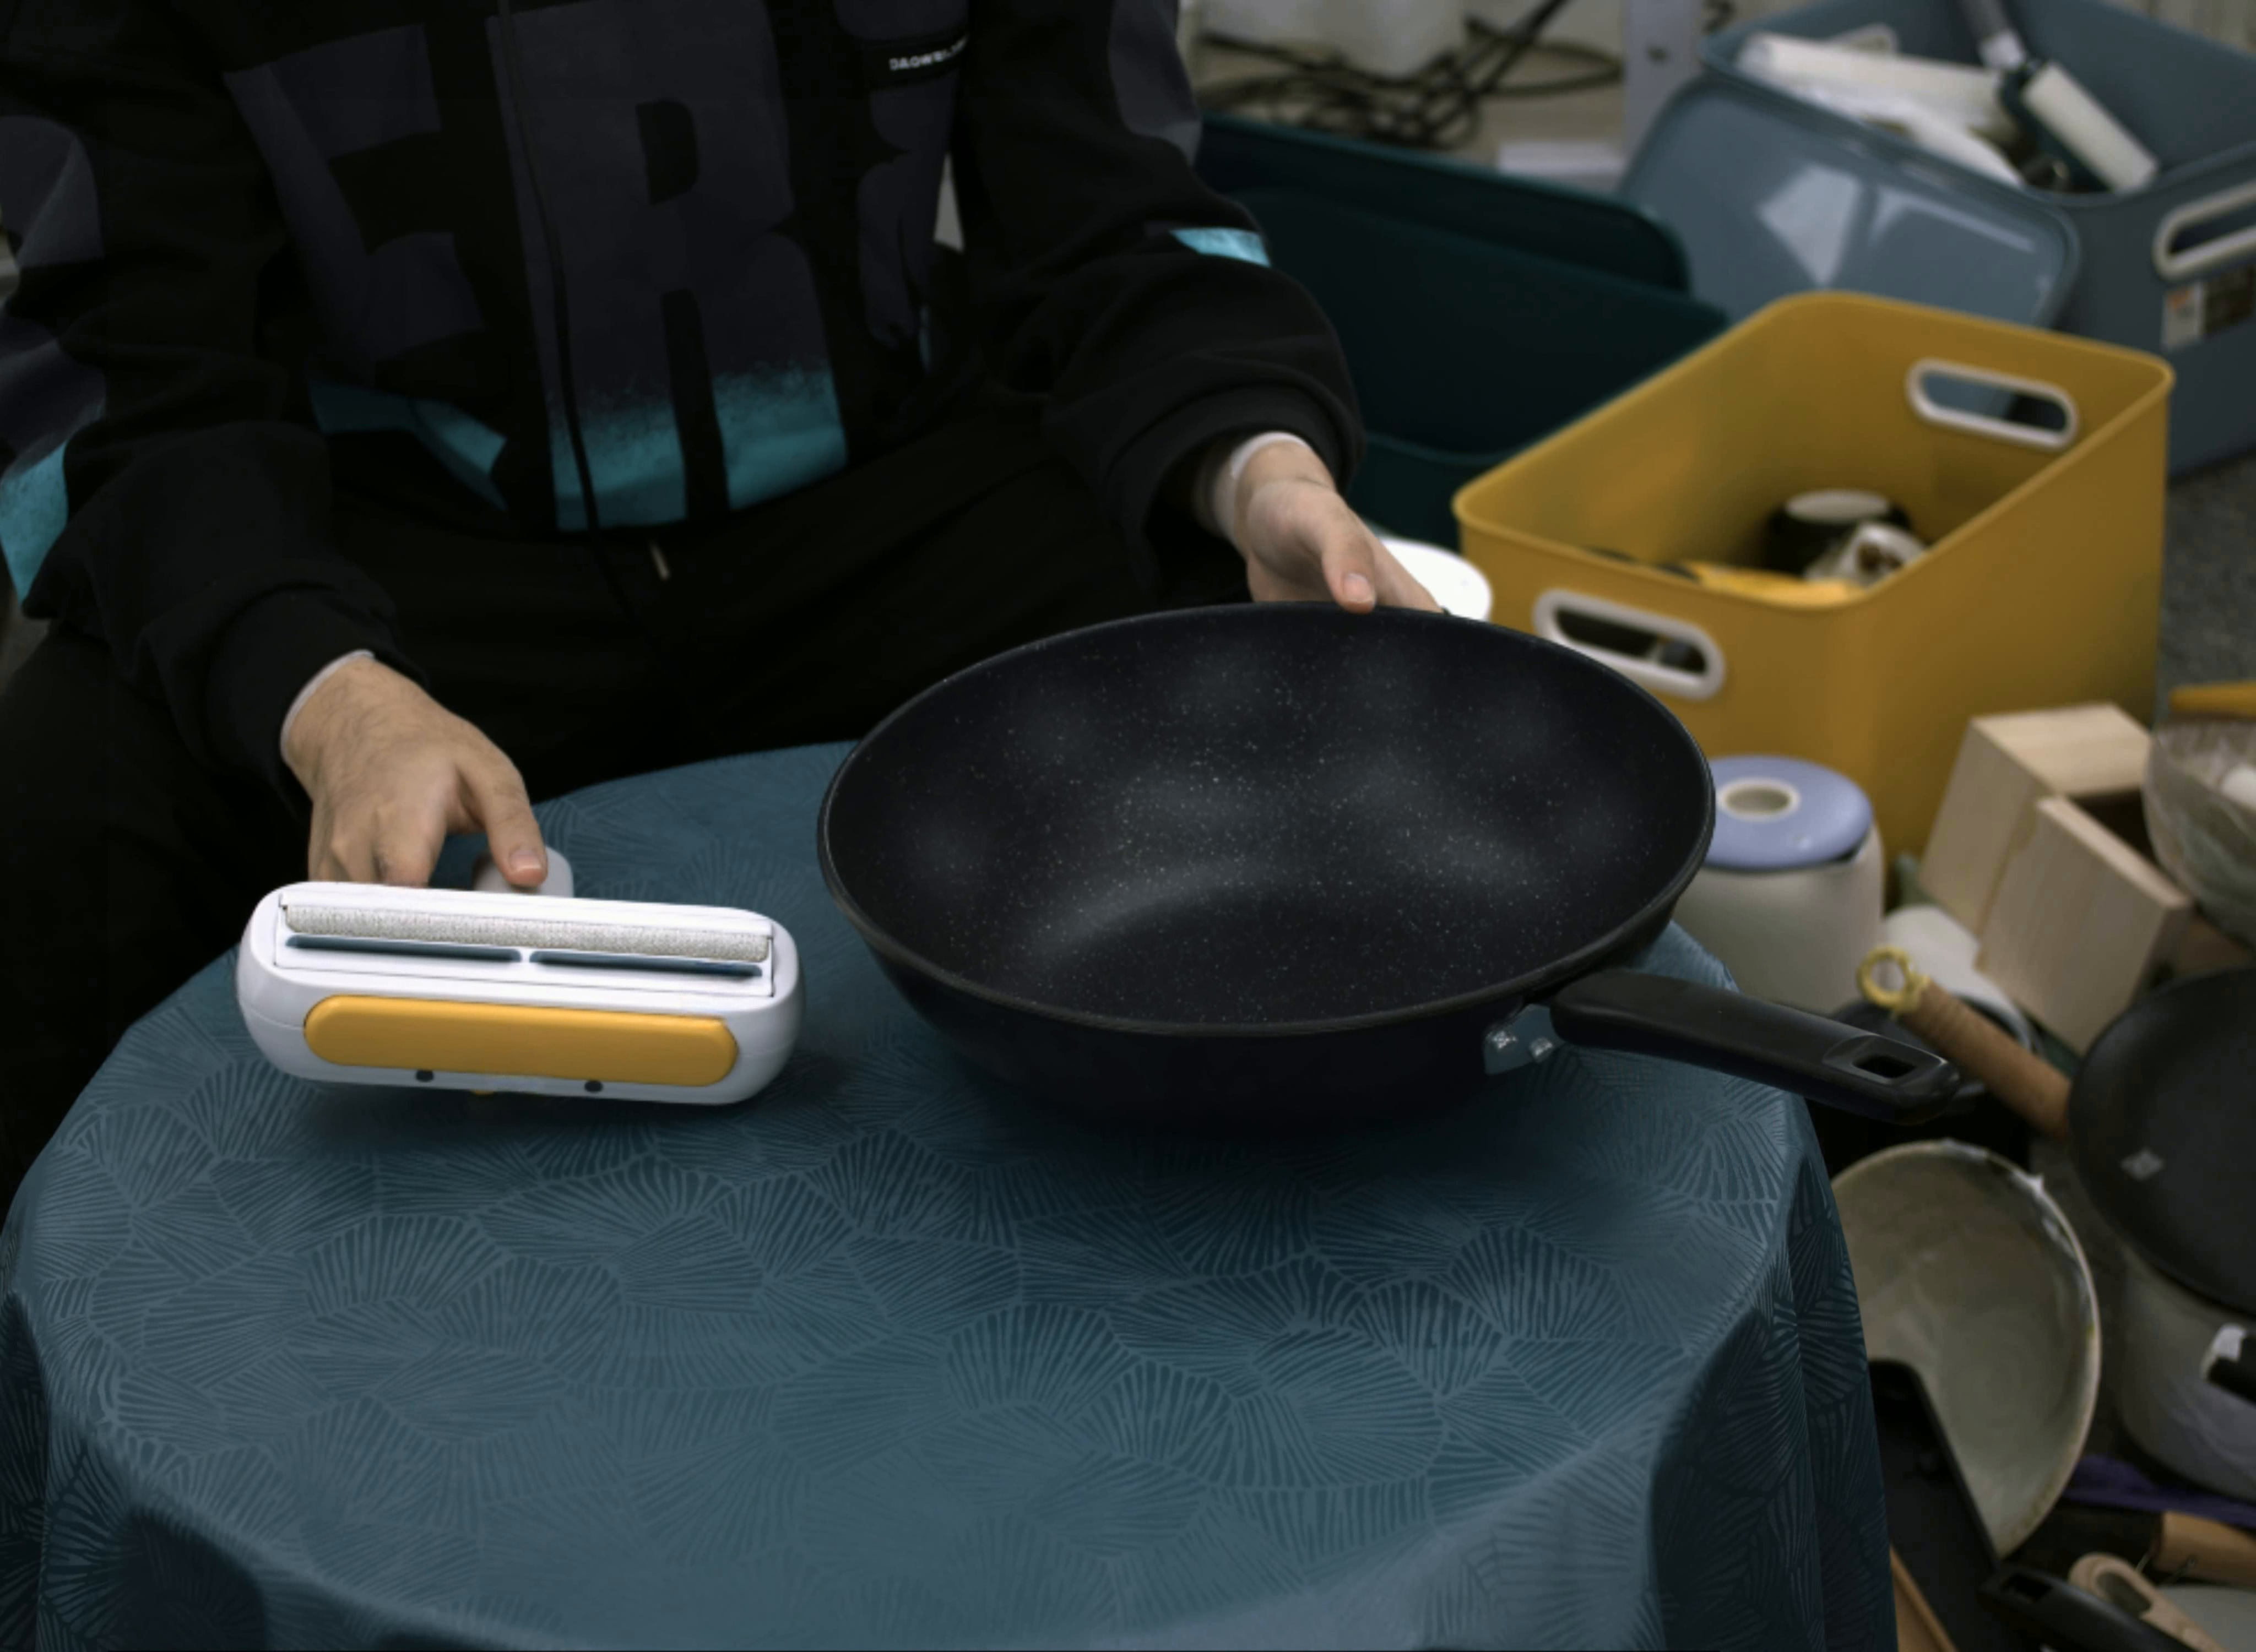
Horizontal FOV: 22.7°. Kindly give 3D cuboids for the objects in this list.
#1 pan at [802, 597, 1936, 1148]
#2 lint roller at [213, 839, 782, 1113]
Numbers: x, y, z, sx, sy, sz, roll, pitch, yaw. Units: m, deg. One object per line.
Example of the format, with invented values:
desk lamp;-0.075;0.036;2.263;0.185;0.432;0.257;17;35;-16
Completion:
pan;0.095;0.045;1.883;0.313;0.110;0.477;-24;34;-31
lint roller;-0.216;0.038;1.969;0.192;0.073;0.195;2;26;-3
